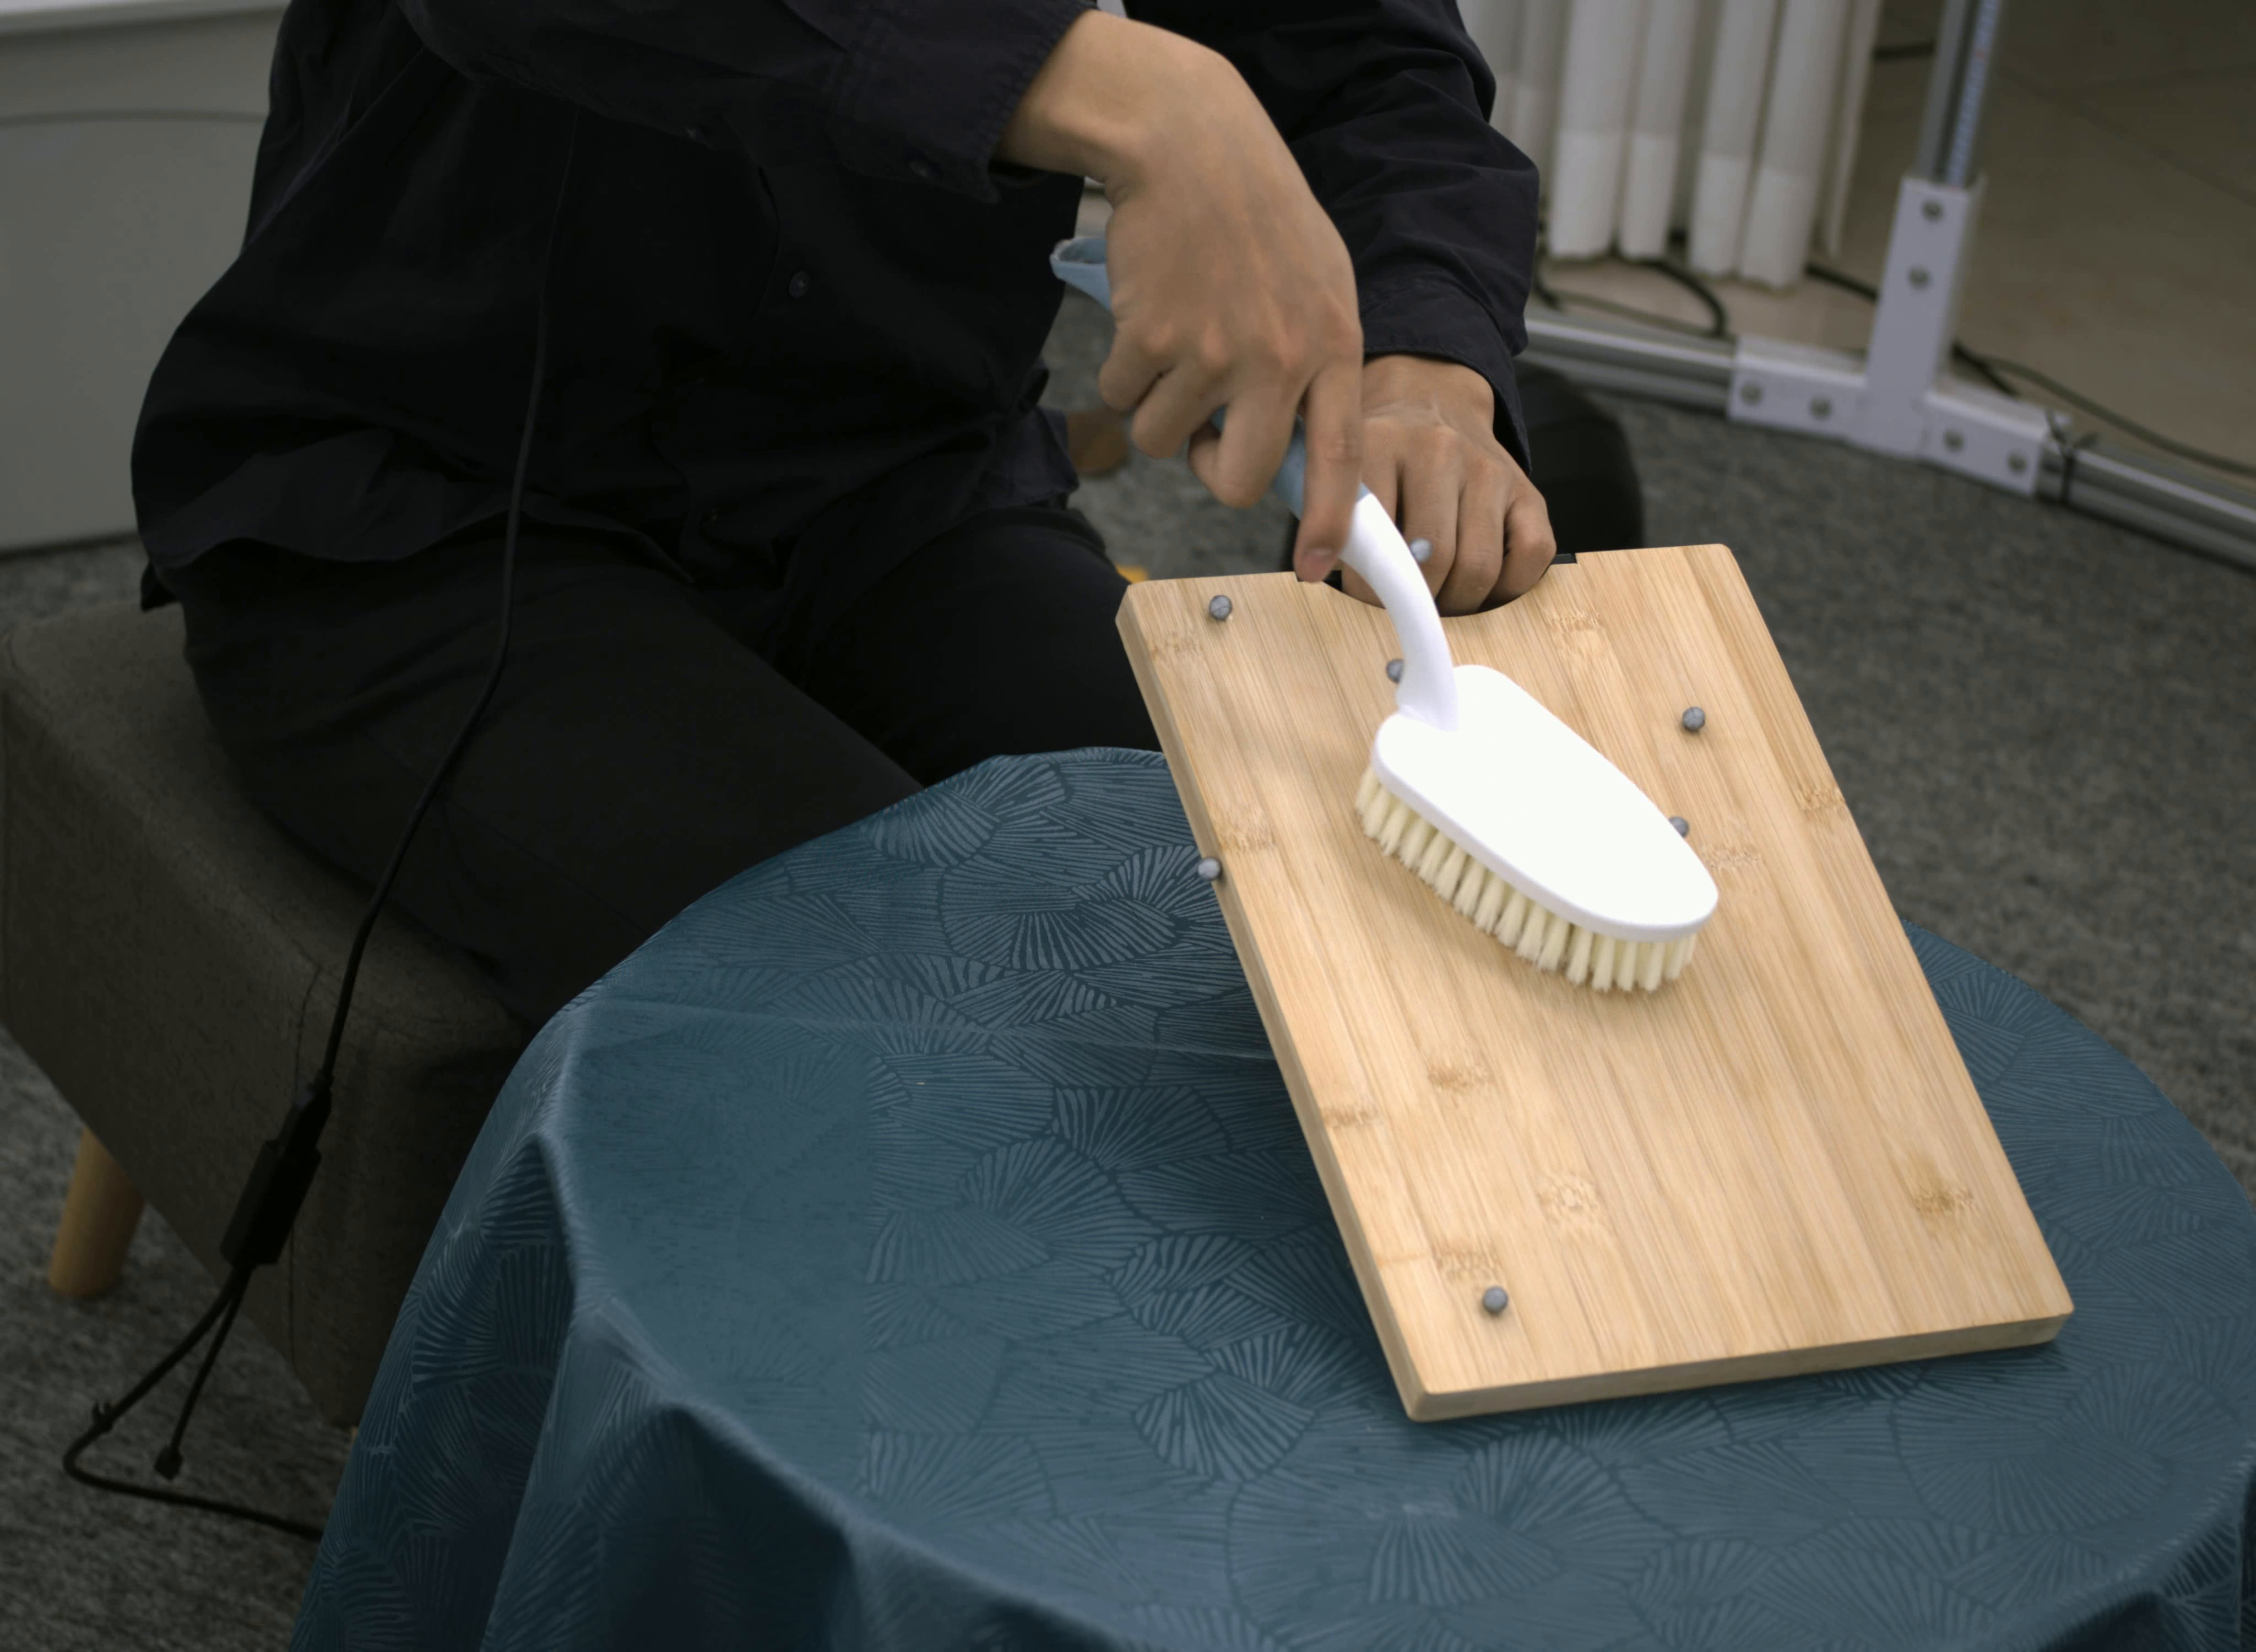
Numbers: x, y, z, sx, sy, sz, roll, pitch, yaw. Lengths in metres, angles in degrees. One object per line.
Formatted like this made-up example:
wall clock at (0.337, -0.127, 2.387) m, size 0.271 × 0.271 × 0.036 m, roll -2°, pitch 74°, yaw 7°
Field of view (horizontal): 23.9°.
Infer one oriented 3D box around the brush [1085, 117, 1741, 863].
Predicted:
brush at (0.089, -0.112, 1.853) m, size 0.326 × 0.084 × 0.083 m, roll 48°, pitch 15°, yaw 7°

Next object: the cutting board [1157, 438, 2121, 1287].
cutting board at (0.171, 0.005, 1.848) m, size 0.249 × 0.023 × 0.352 m, roll -6°, pitch 53°, yaw -22°
